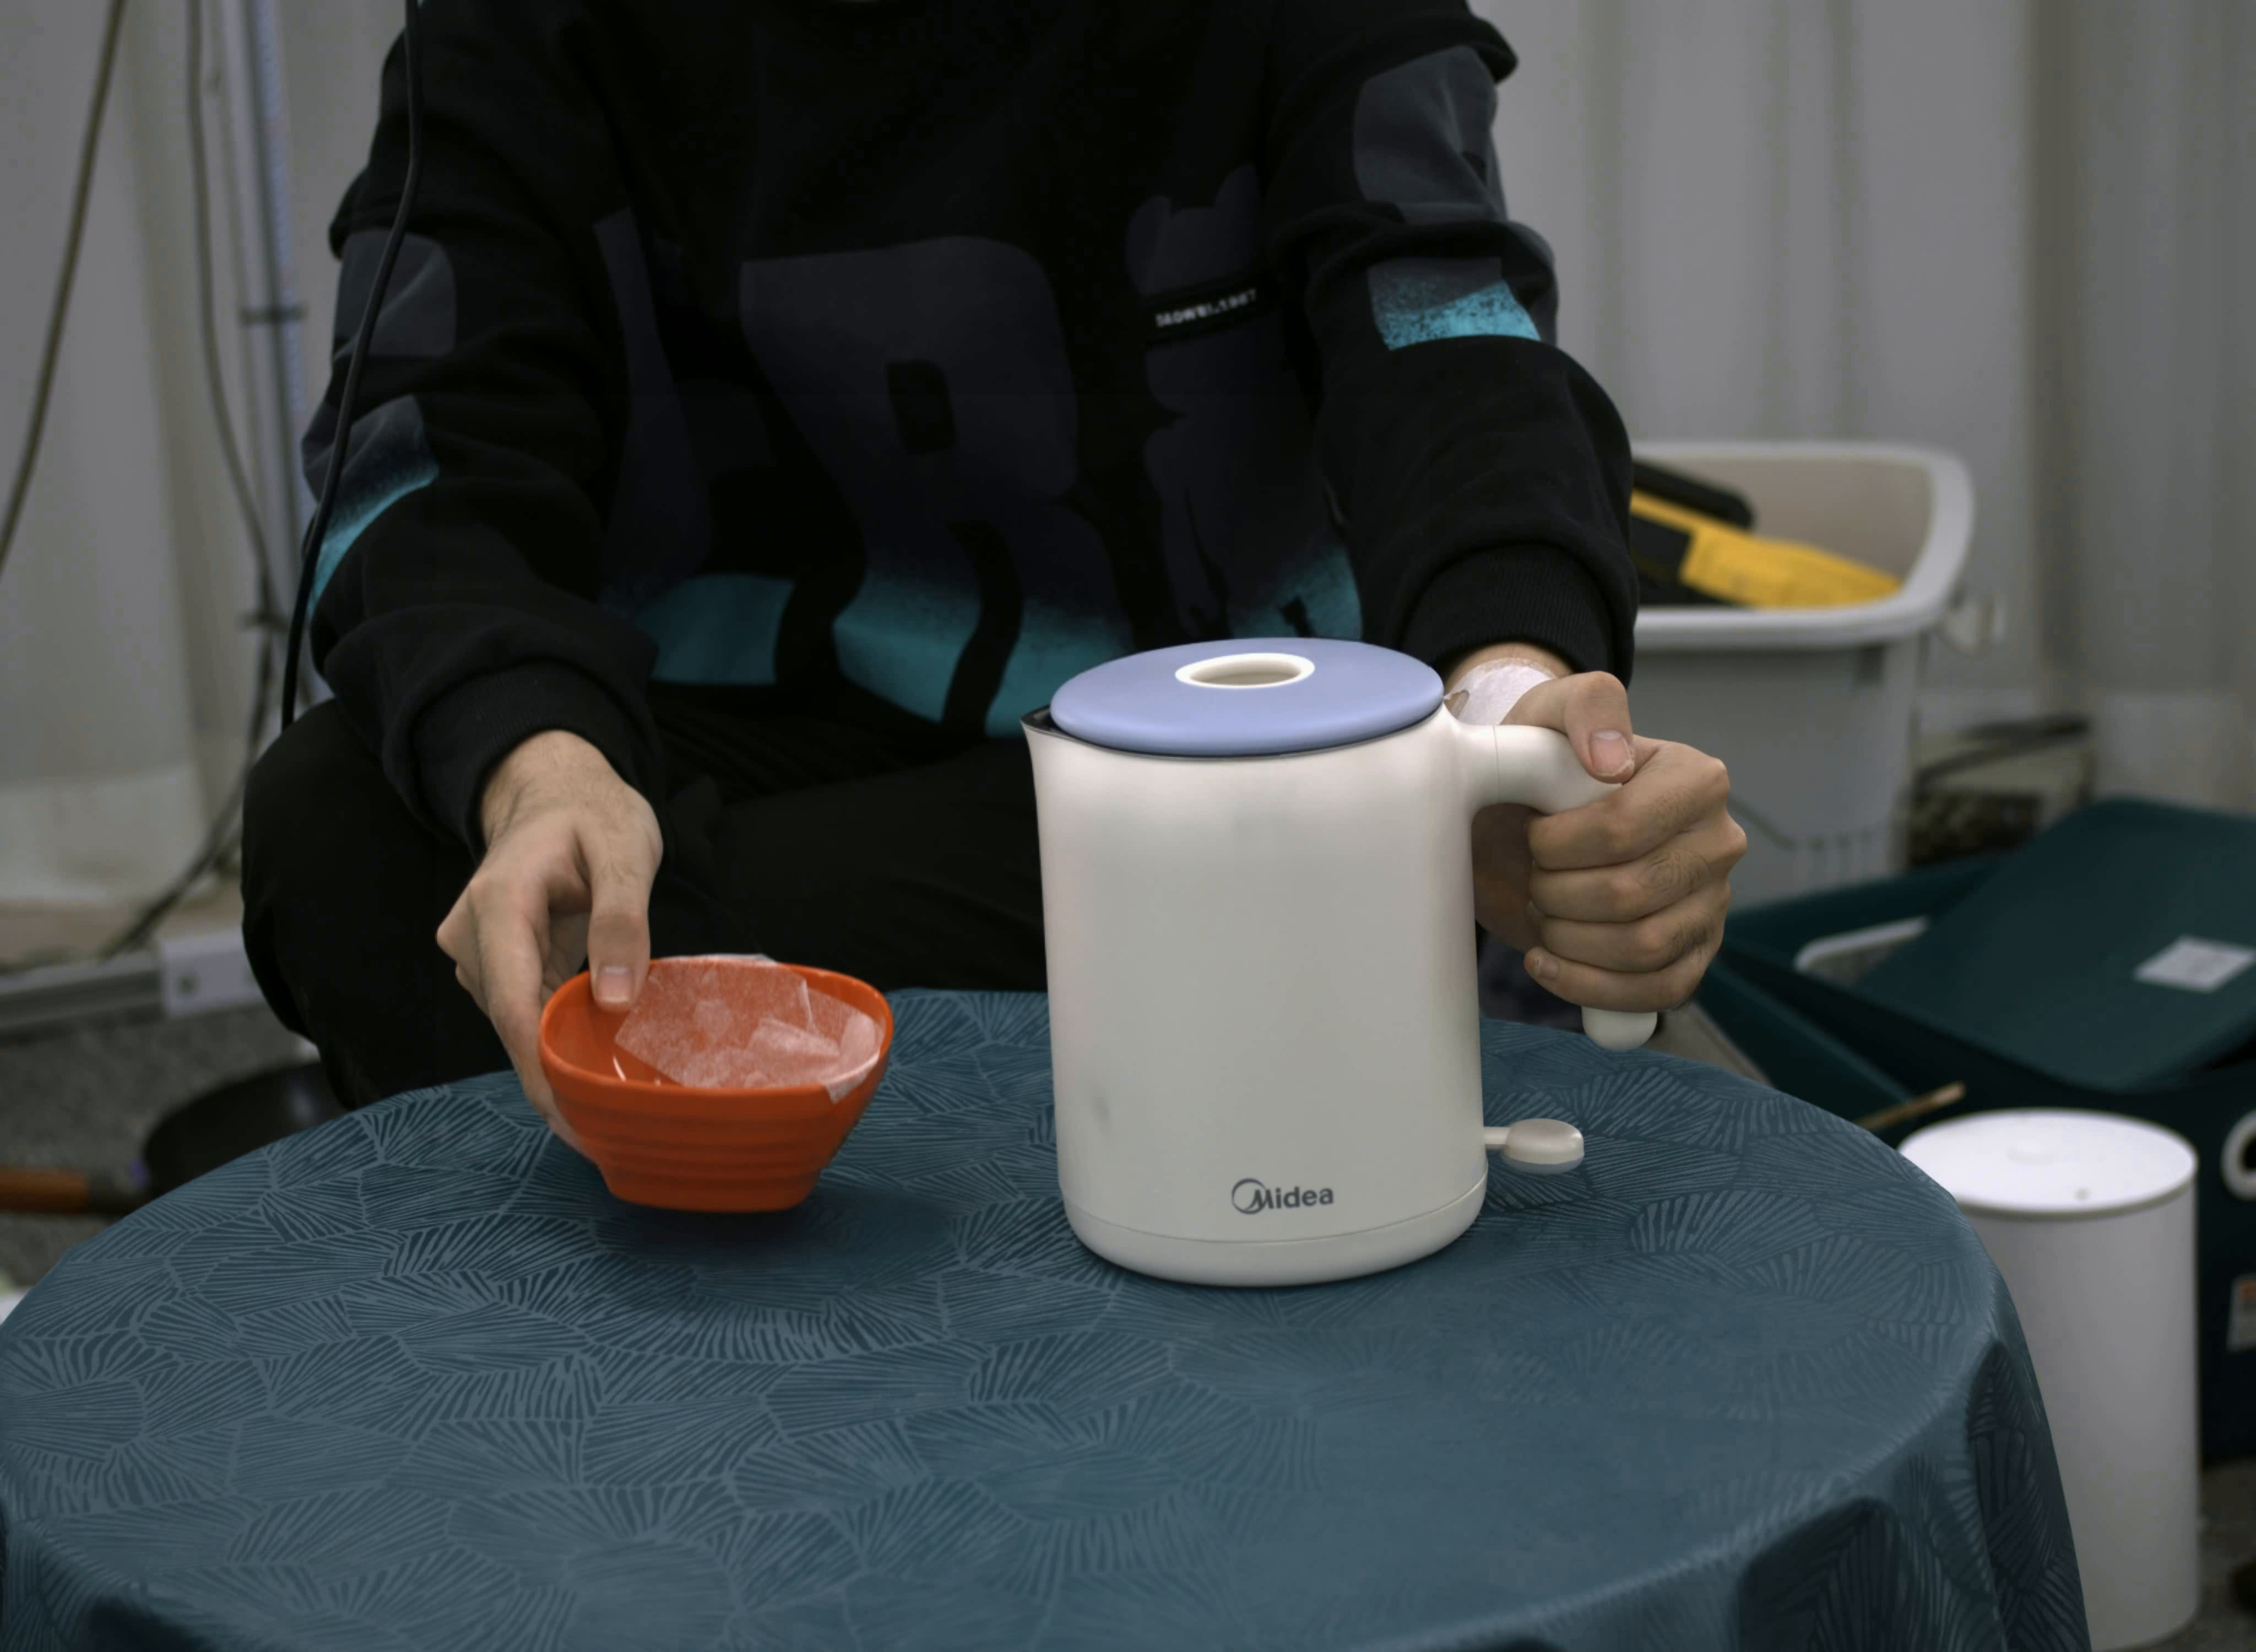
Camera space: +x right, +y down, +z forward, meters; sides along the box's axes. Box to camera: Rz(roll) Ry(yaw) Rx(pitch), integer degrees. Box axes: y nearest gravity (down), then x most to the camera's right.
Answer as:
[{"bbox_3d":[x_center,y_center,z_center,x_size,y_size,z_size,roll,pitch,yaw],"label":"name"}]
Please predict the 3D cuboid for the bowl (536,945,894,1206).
[{"bbox_3d":[-0.127,0.081,1.698,0.118,0.051,0.120,0,22,0],"label":"bowl"}]

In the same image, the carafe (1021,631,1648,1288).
[{"bbox_3d":[0.064,0.039,1.659,0.190,0.182,0.133,-1,15,-3],"label":"carafe"}]
